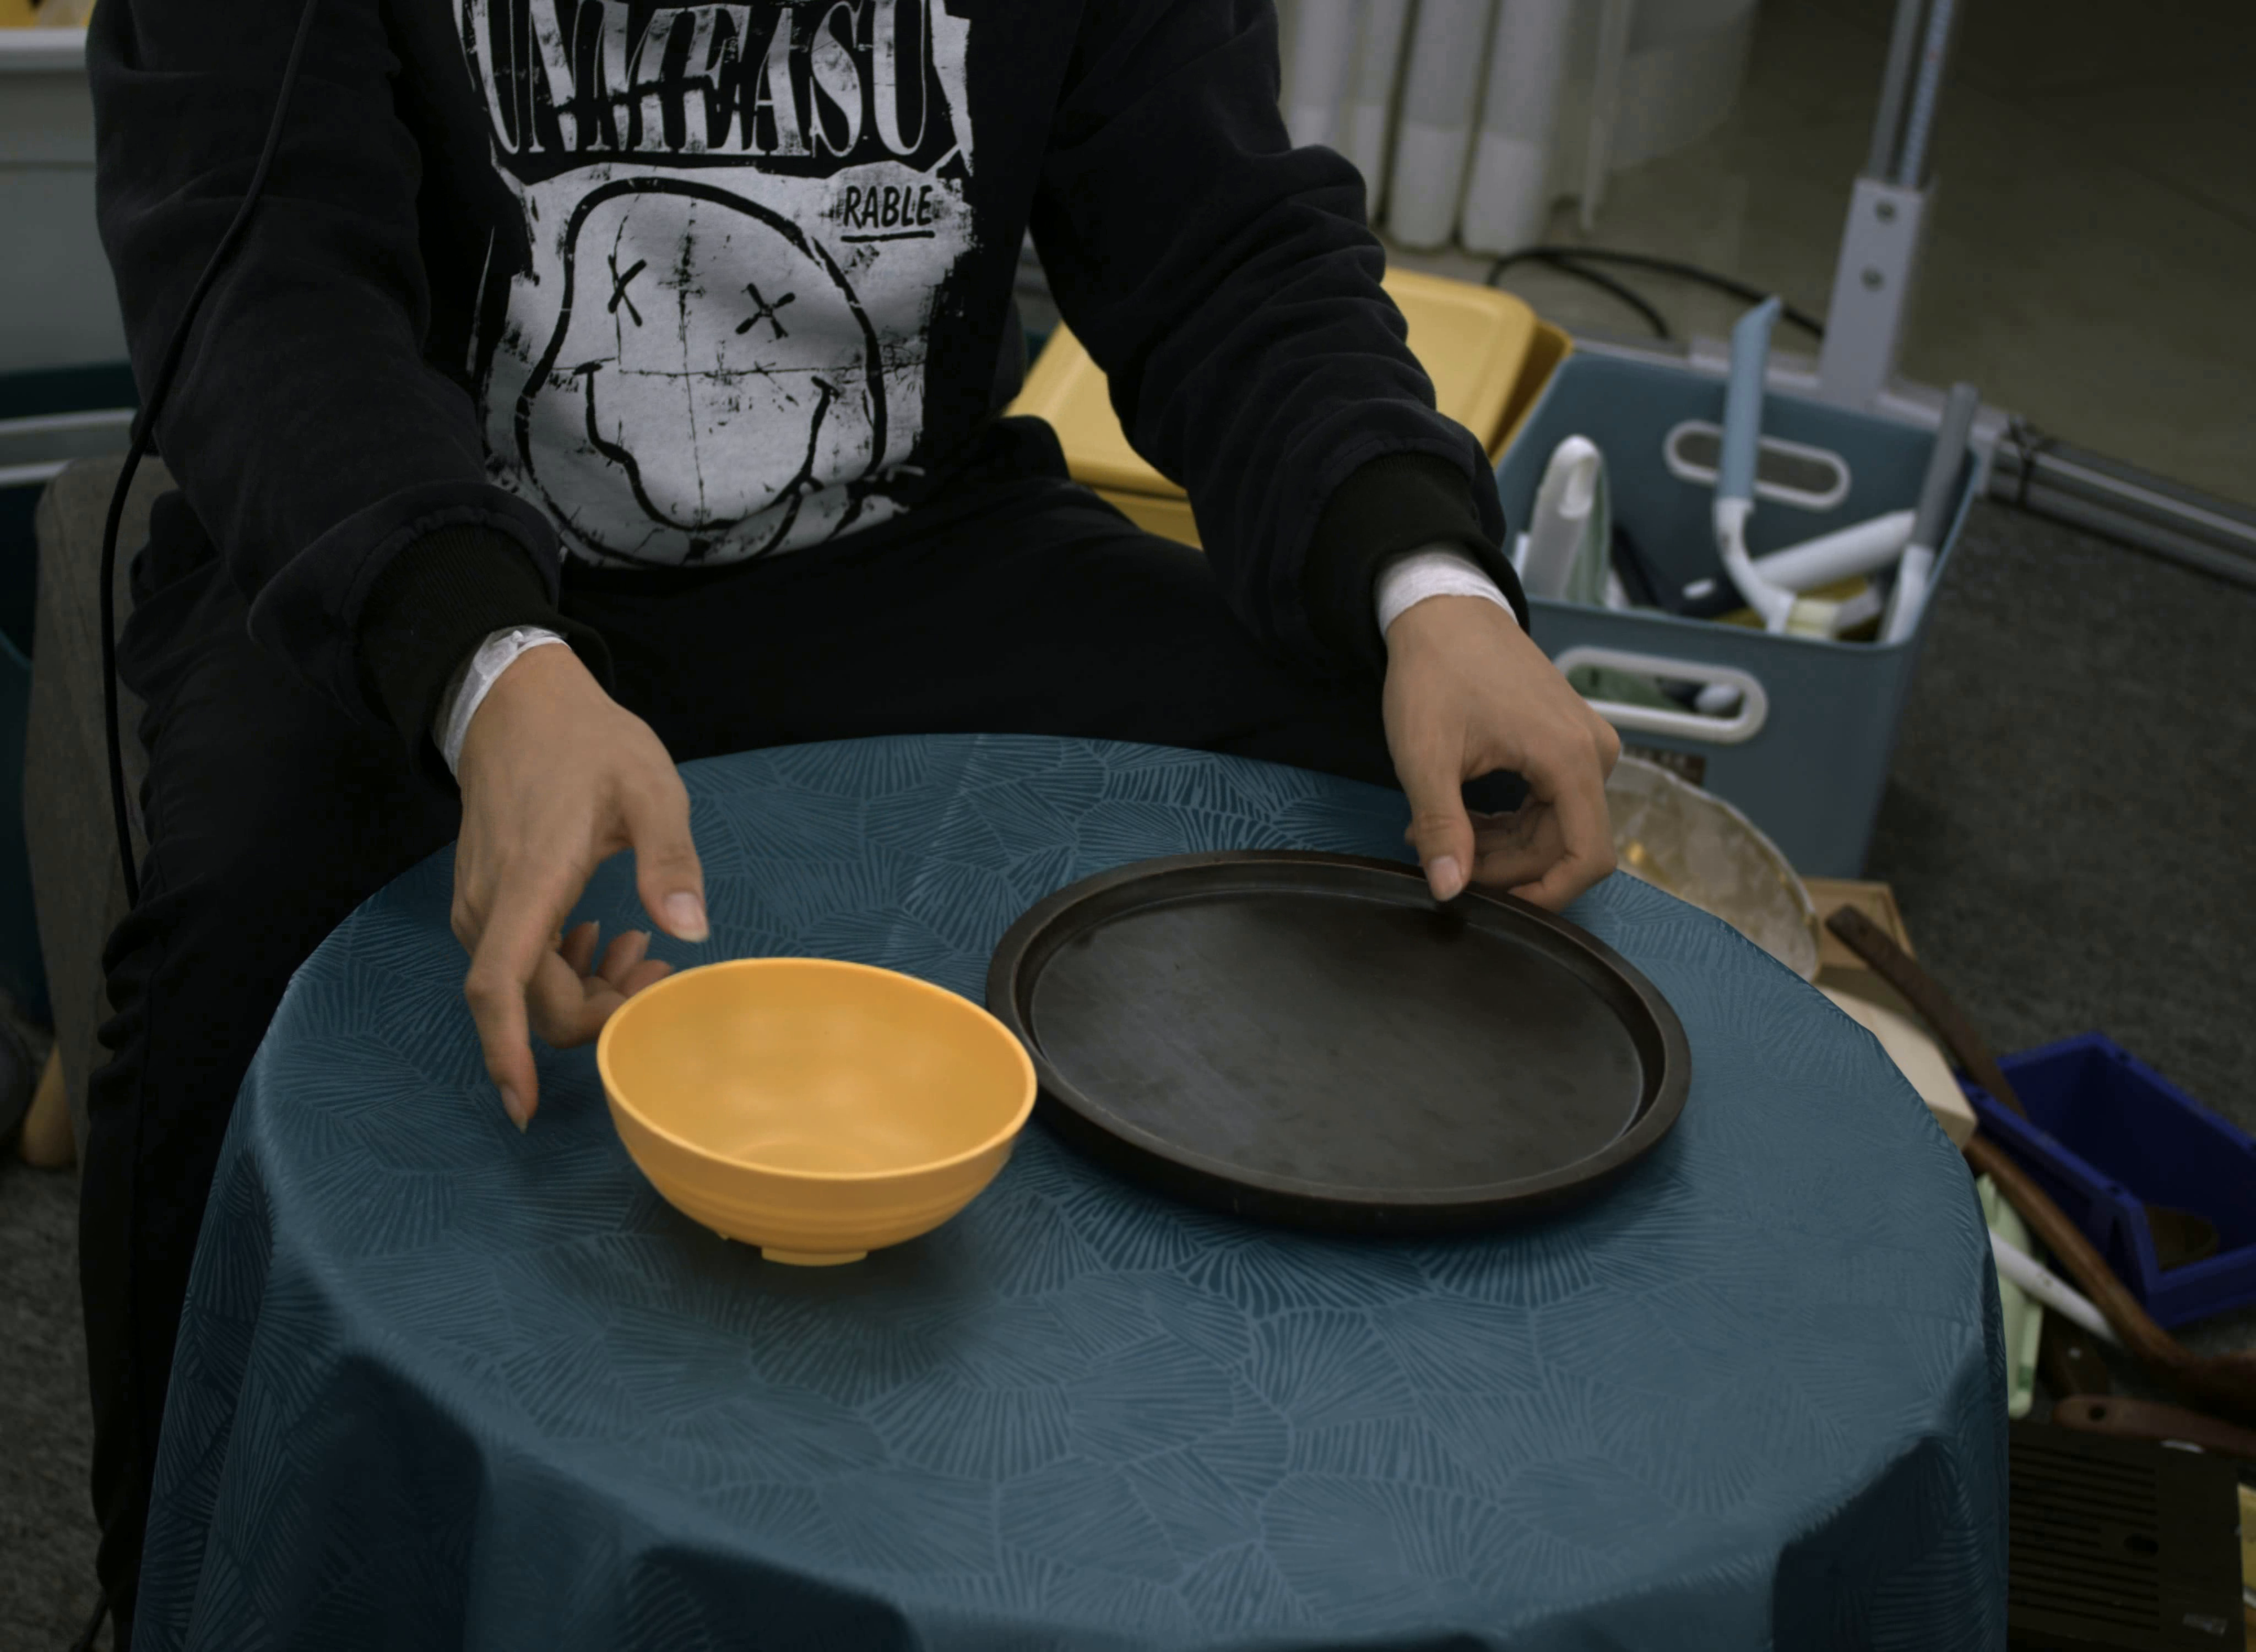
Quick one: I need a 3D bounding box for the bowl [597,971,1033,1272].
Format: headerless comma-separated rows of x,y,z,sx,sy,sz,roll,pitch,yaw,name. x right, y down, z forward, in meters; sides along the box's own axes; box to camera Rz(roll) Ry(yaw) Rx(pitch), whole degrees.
-0.105,0.105,1.752,0.145,0.060,0.146,6,24,-3,bowl

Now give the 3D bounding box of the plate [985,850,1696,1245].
0.075,0.077,1.885,0.254,0.029,0.256,4,27,-2,plate
